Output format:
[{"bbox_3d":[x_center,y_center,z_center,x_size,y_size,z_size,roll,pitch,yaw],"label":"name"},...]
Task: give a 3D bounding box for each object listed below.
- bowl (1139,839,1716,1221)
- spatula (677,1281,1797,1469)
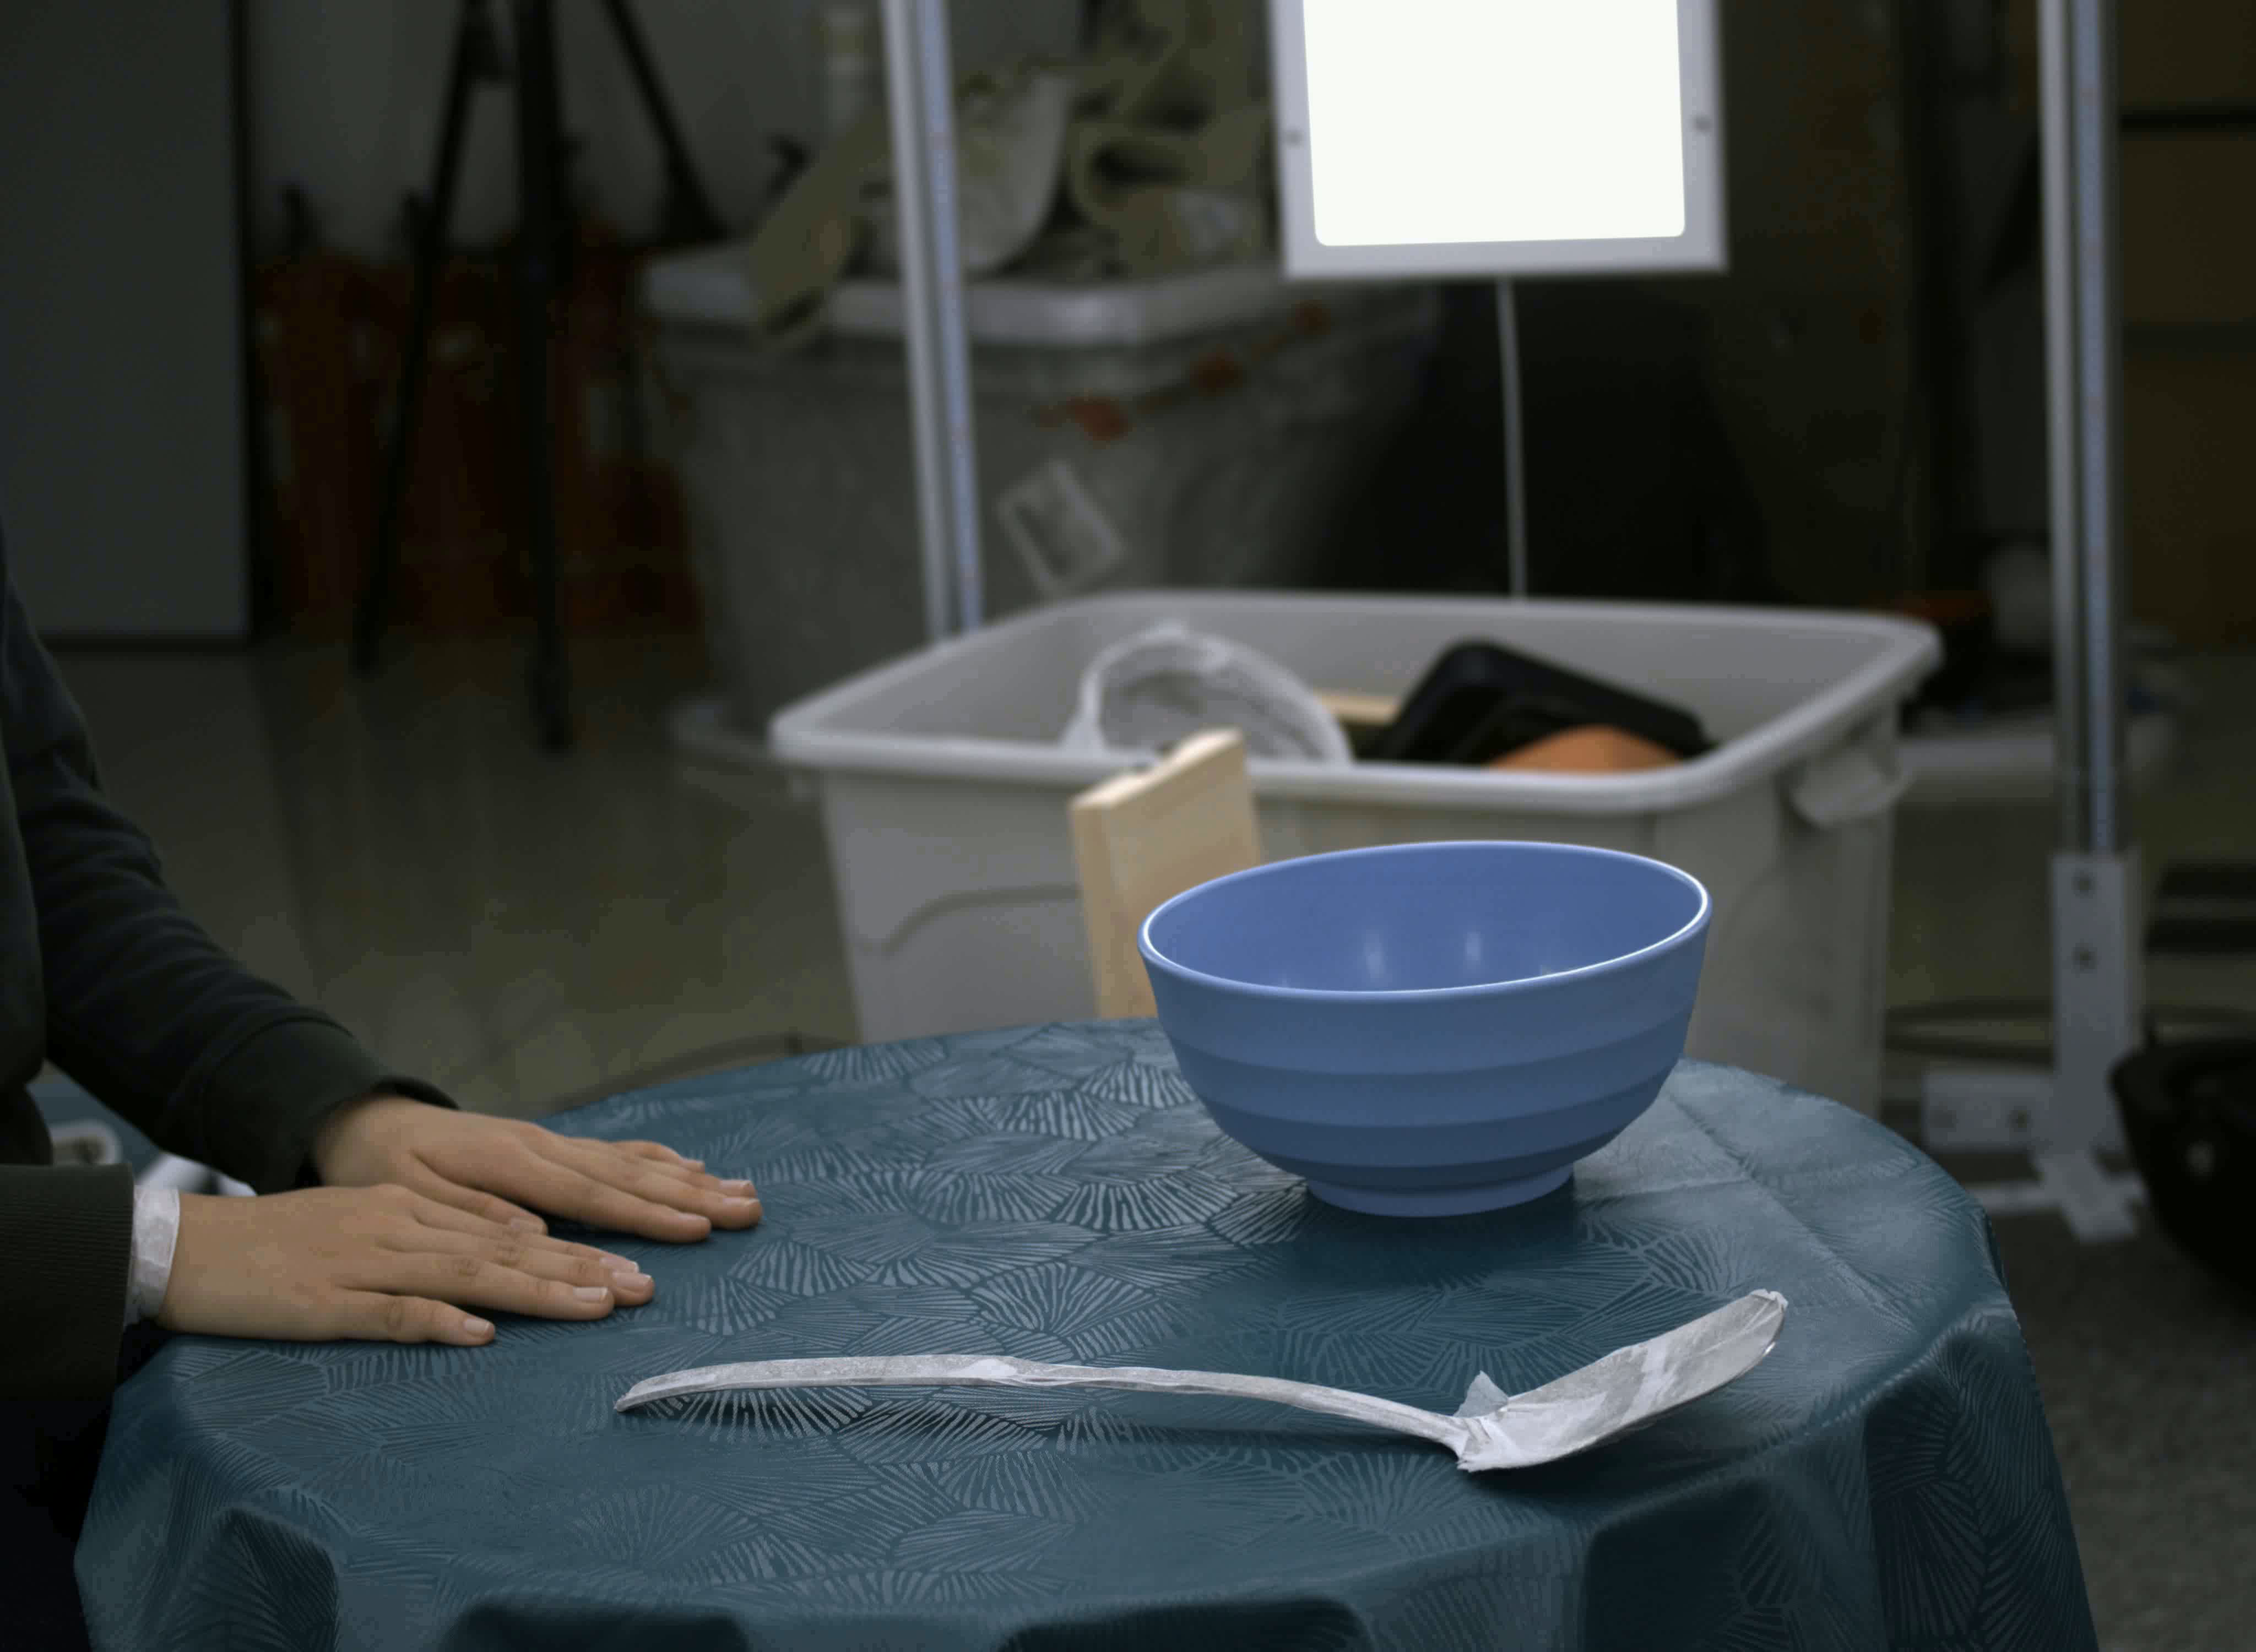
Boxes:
[{"bbox_3d":[0.104,0.075,1.873,0.196,0.096,0.196,-4,14,0],"label":"bowl"},{"bbox_3d":[0.022,0.163,1.660,0.370,0.045,0.097,1,17,23],"label":"spatula"}]
